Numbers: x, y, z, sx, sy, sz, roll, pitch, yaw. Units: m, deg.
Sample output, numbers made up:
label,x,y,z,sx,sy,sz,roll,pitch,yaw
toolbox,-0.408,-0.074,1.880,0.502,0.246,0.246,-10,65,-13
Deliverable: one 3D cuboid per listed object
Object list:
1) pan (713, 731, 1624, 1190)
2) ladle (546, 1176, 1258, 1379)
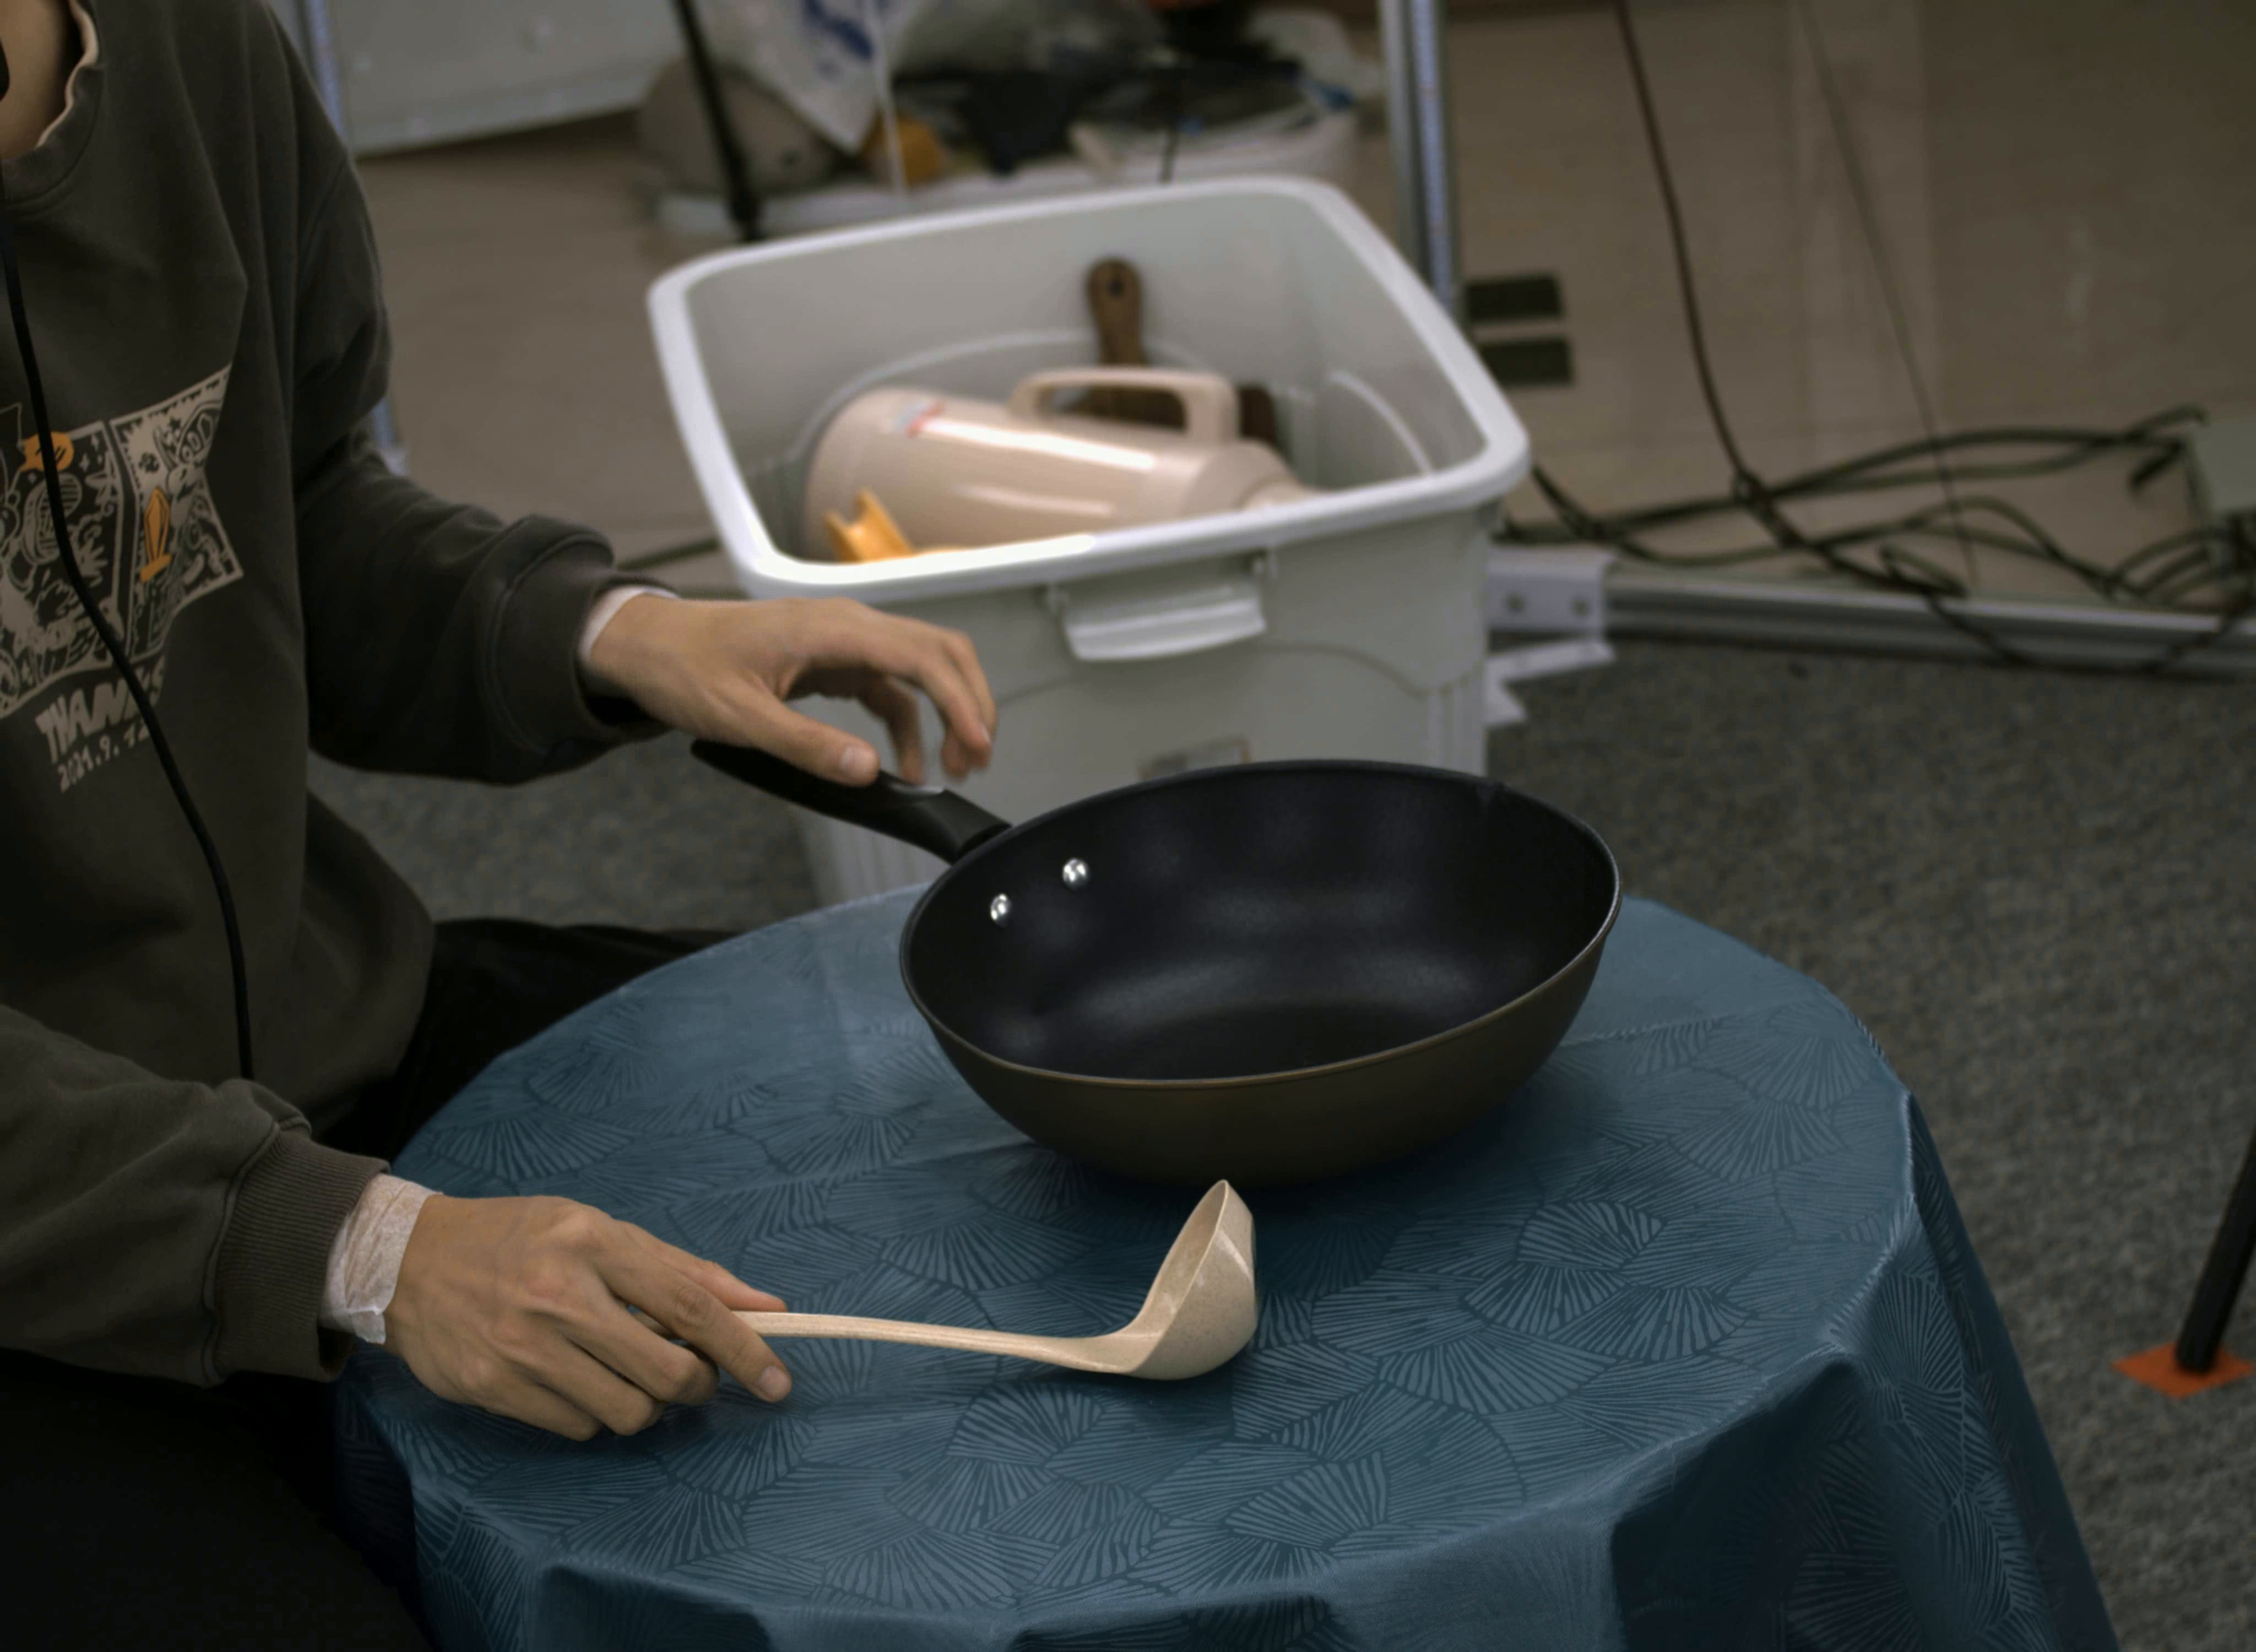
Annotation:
label,x,y,z,sx,sy,sz,roll,pitch,yaw
pan,-0.010,0.047,2.246,0.285,0.088,0.460,-28,31,-37
ladle,-0.080,0.158,2.012,0.254,0.074,0.071,1,26,0
